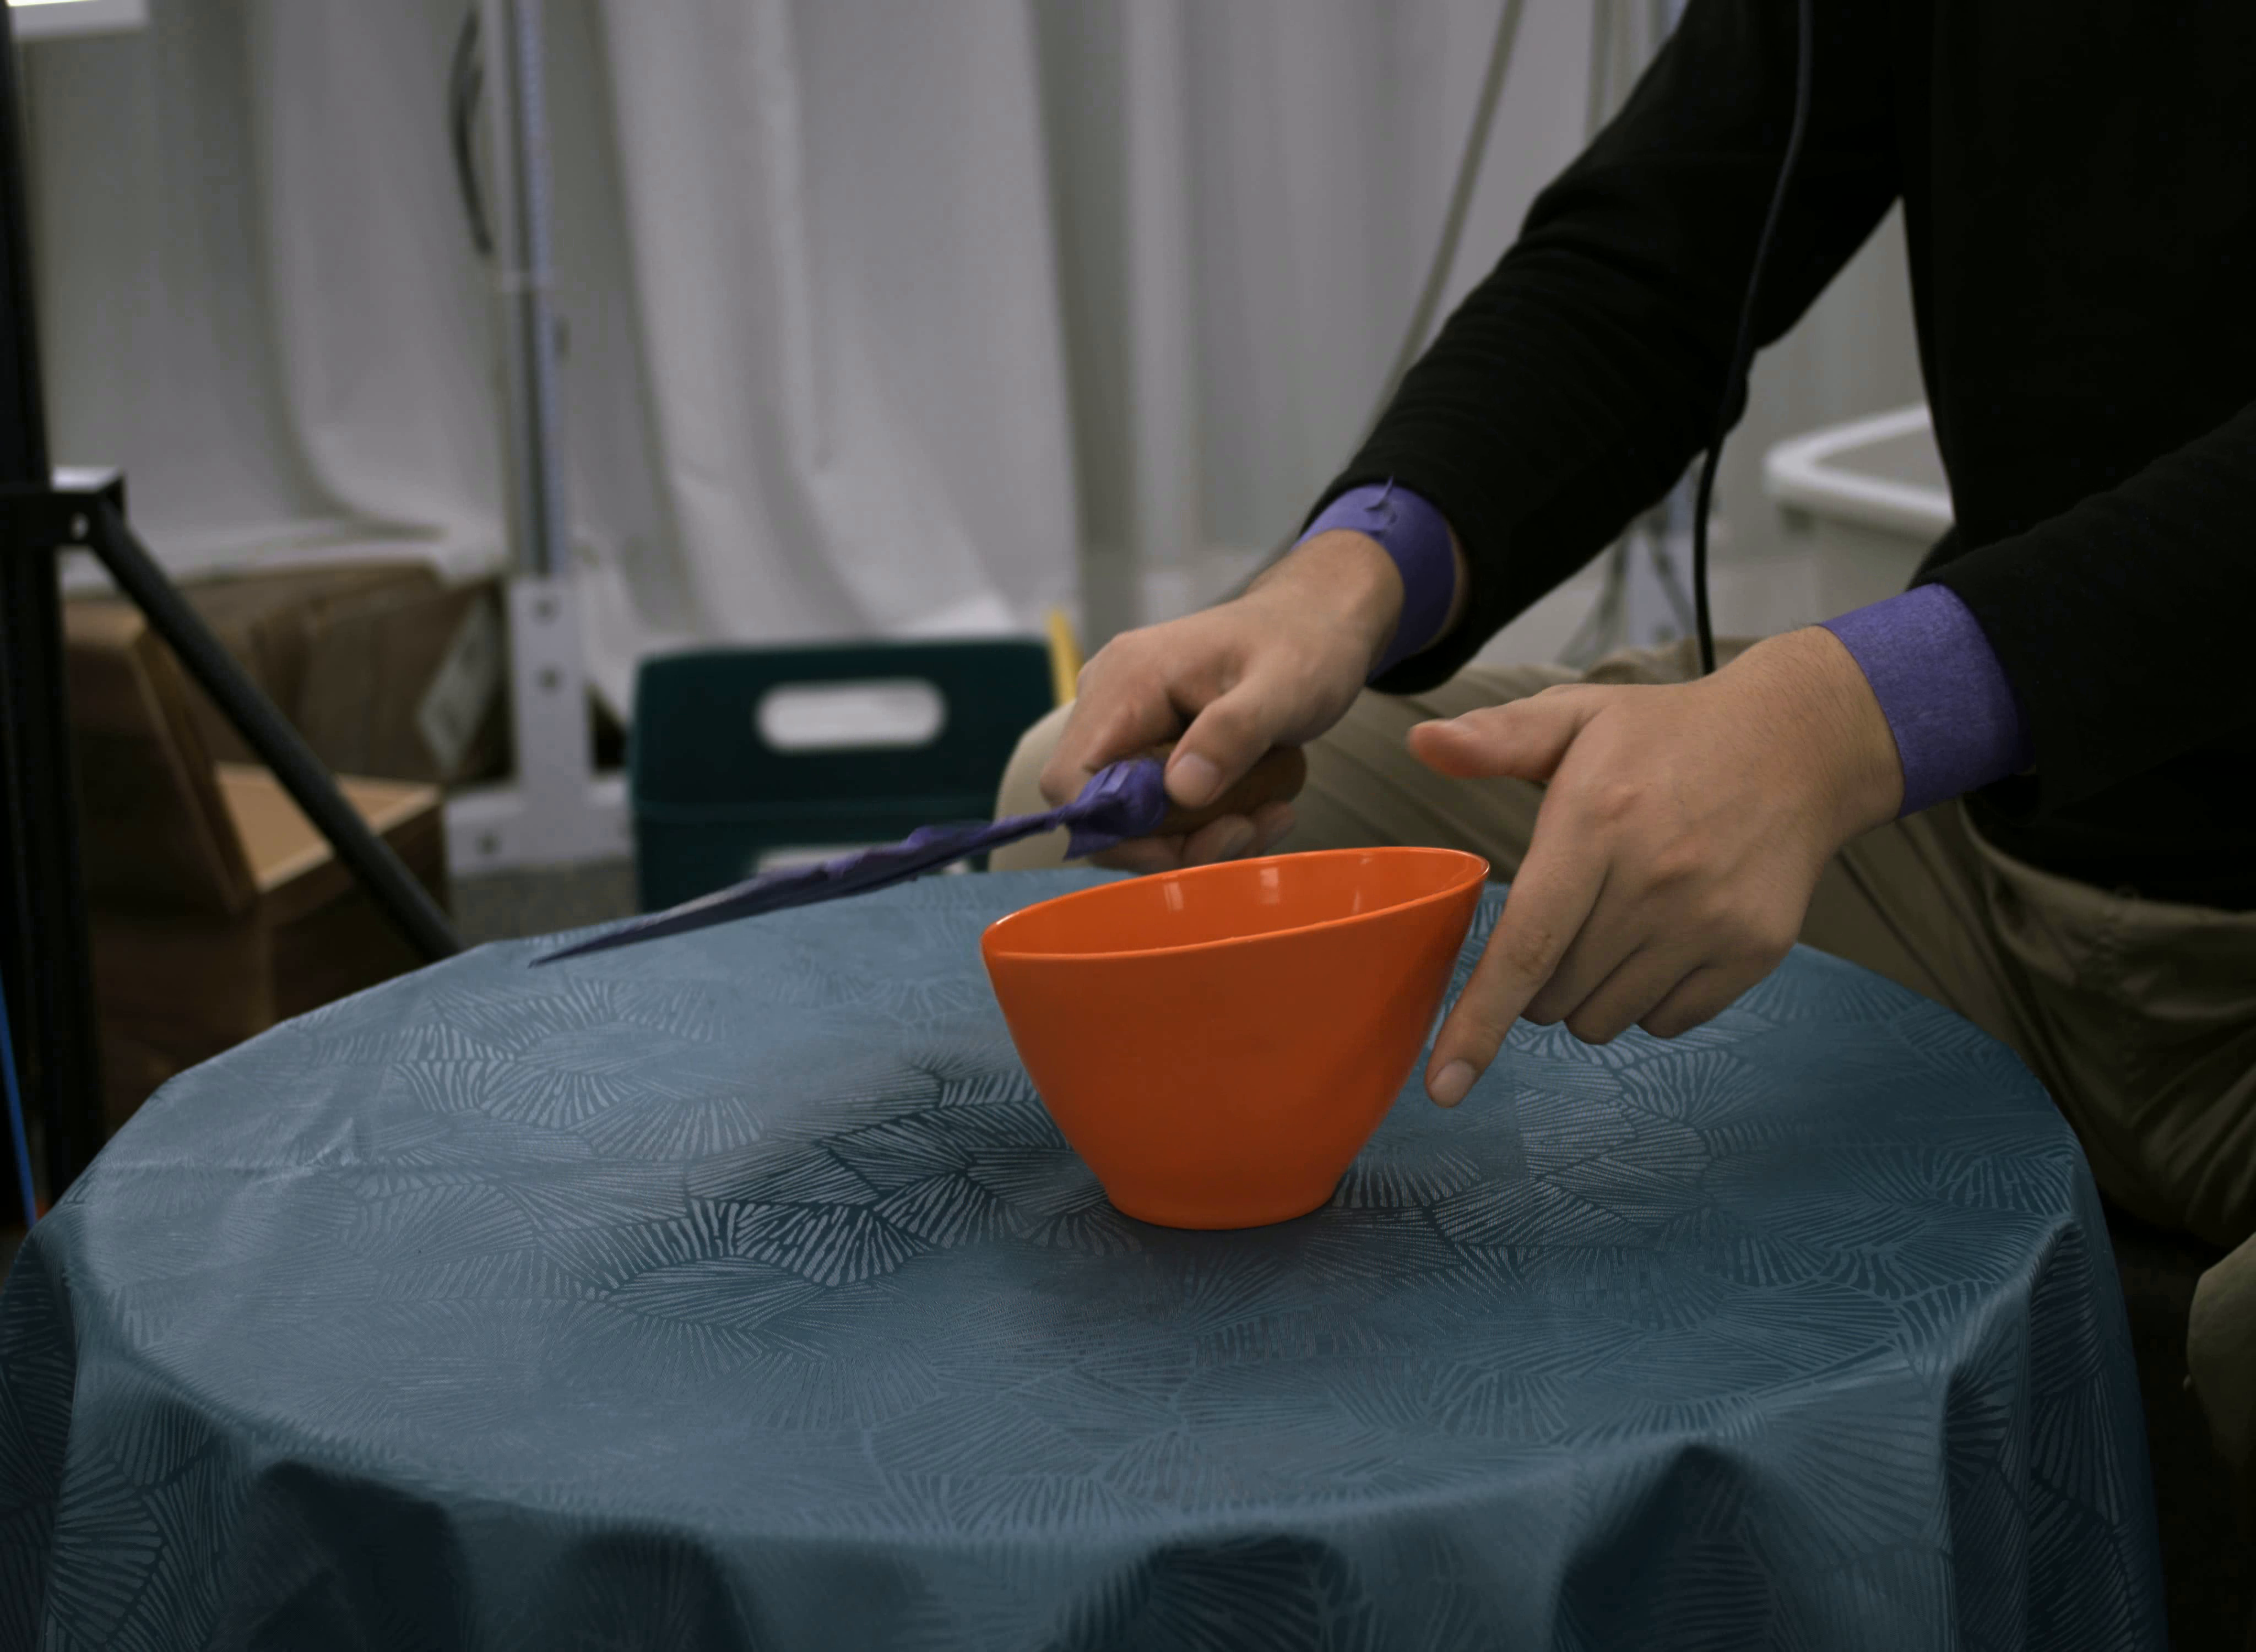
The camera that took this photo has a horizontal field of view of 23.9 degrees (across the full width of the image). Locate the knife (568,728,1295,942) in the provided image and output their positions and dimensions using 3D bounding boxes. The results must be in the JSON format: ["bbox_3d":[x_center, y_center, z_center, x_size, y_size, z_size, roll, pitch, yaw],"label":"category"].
[{"bbox_3d":[-0.057,0.002,1.634,0.105,0.032,0.308,-19,-6,30],"label":"knife"}]

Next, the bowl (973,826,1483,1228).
[{"bbox_3d":[0.030,0.059,1.529,0.147,0.104,0.149,-4,19,0],"label":"bowl"}]
